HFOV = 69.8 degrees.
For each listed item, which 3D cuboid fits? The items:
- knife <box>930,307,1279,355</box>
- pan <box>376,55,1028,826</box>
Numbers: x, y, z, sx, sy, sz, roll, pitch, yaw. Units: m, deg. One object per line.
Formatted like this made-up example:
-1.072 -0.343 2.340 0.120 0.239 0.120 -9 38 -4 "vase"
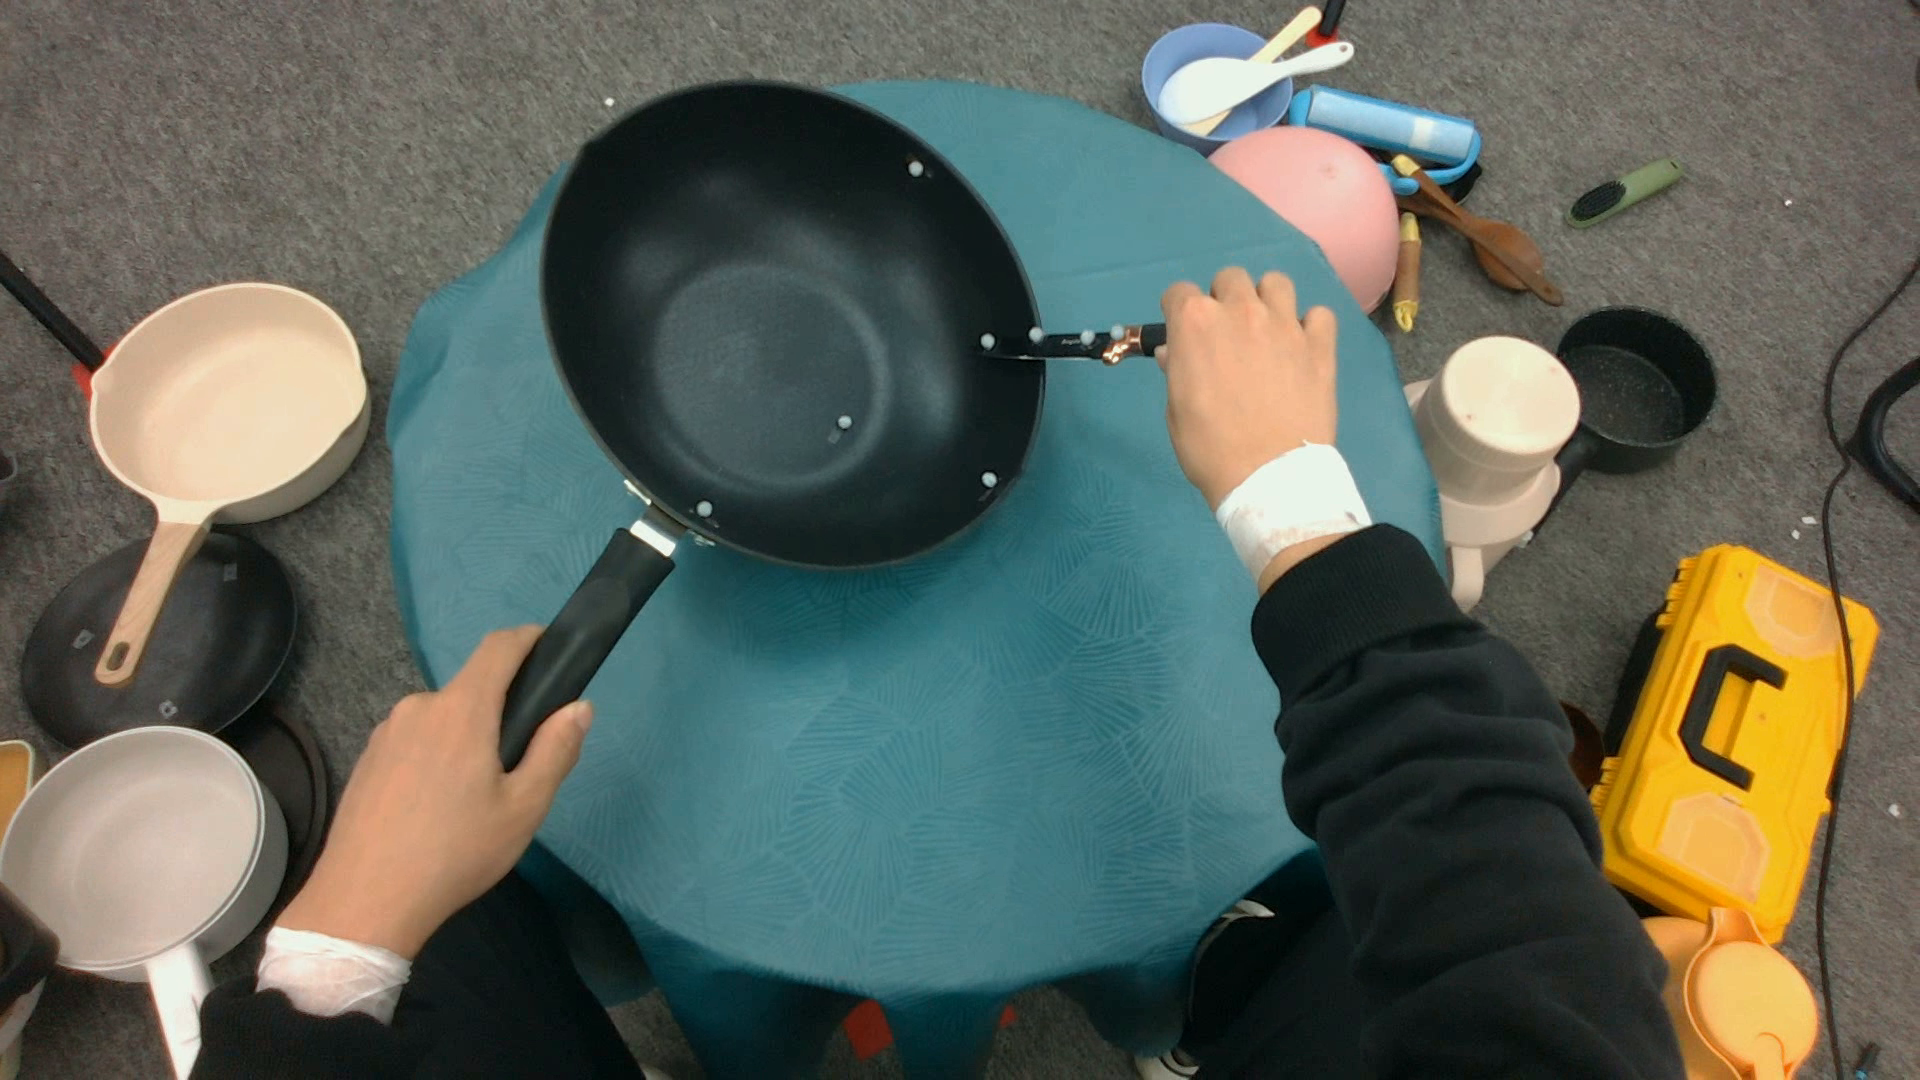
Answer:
0.070 -0.113 0.747 0.225 0.017 0.026 6 66 41 "knife"
-0.145 -0.050 0.722 0.288 0.086 0.465 36 63 -13 "pan"
